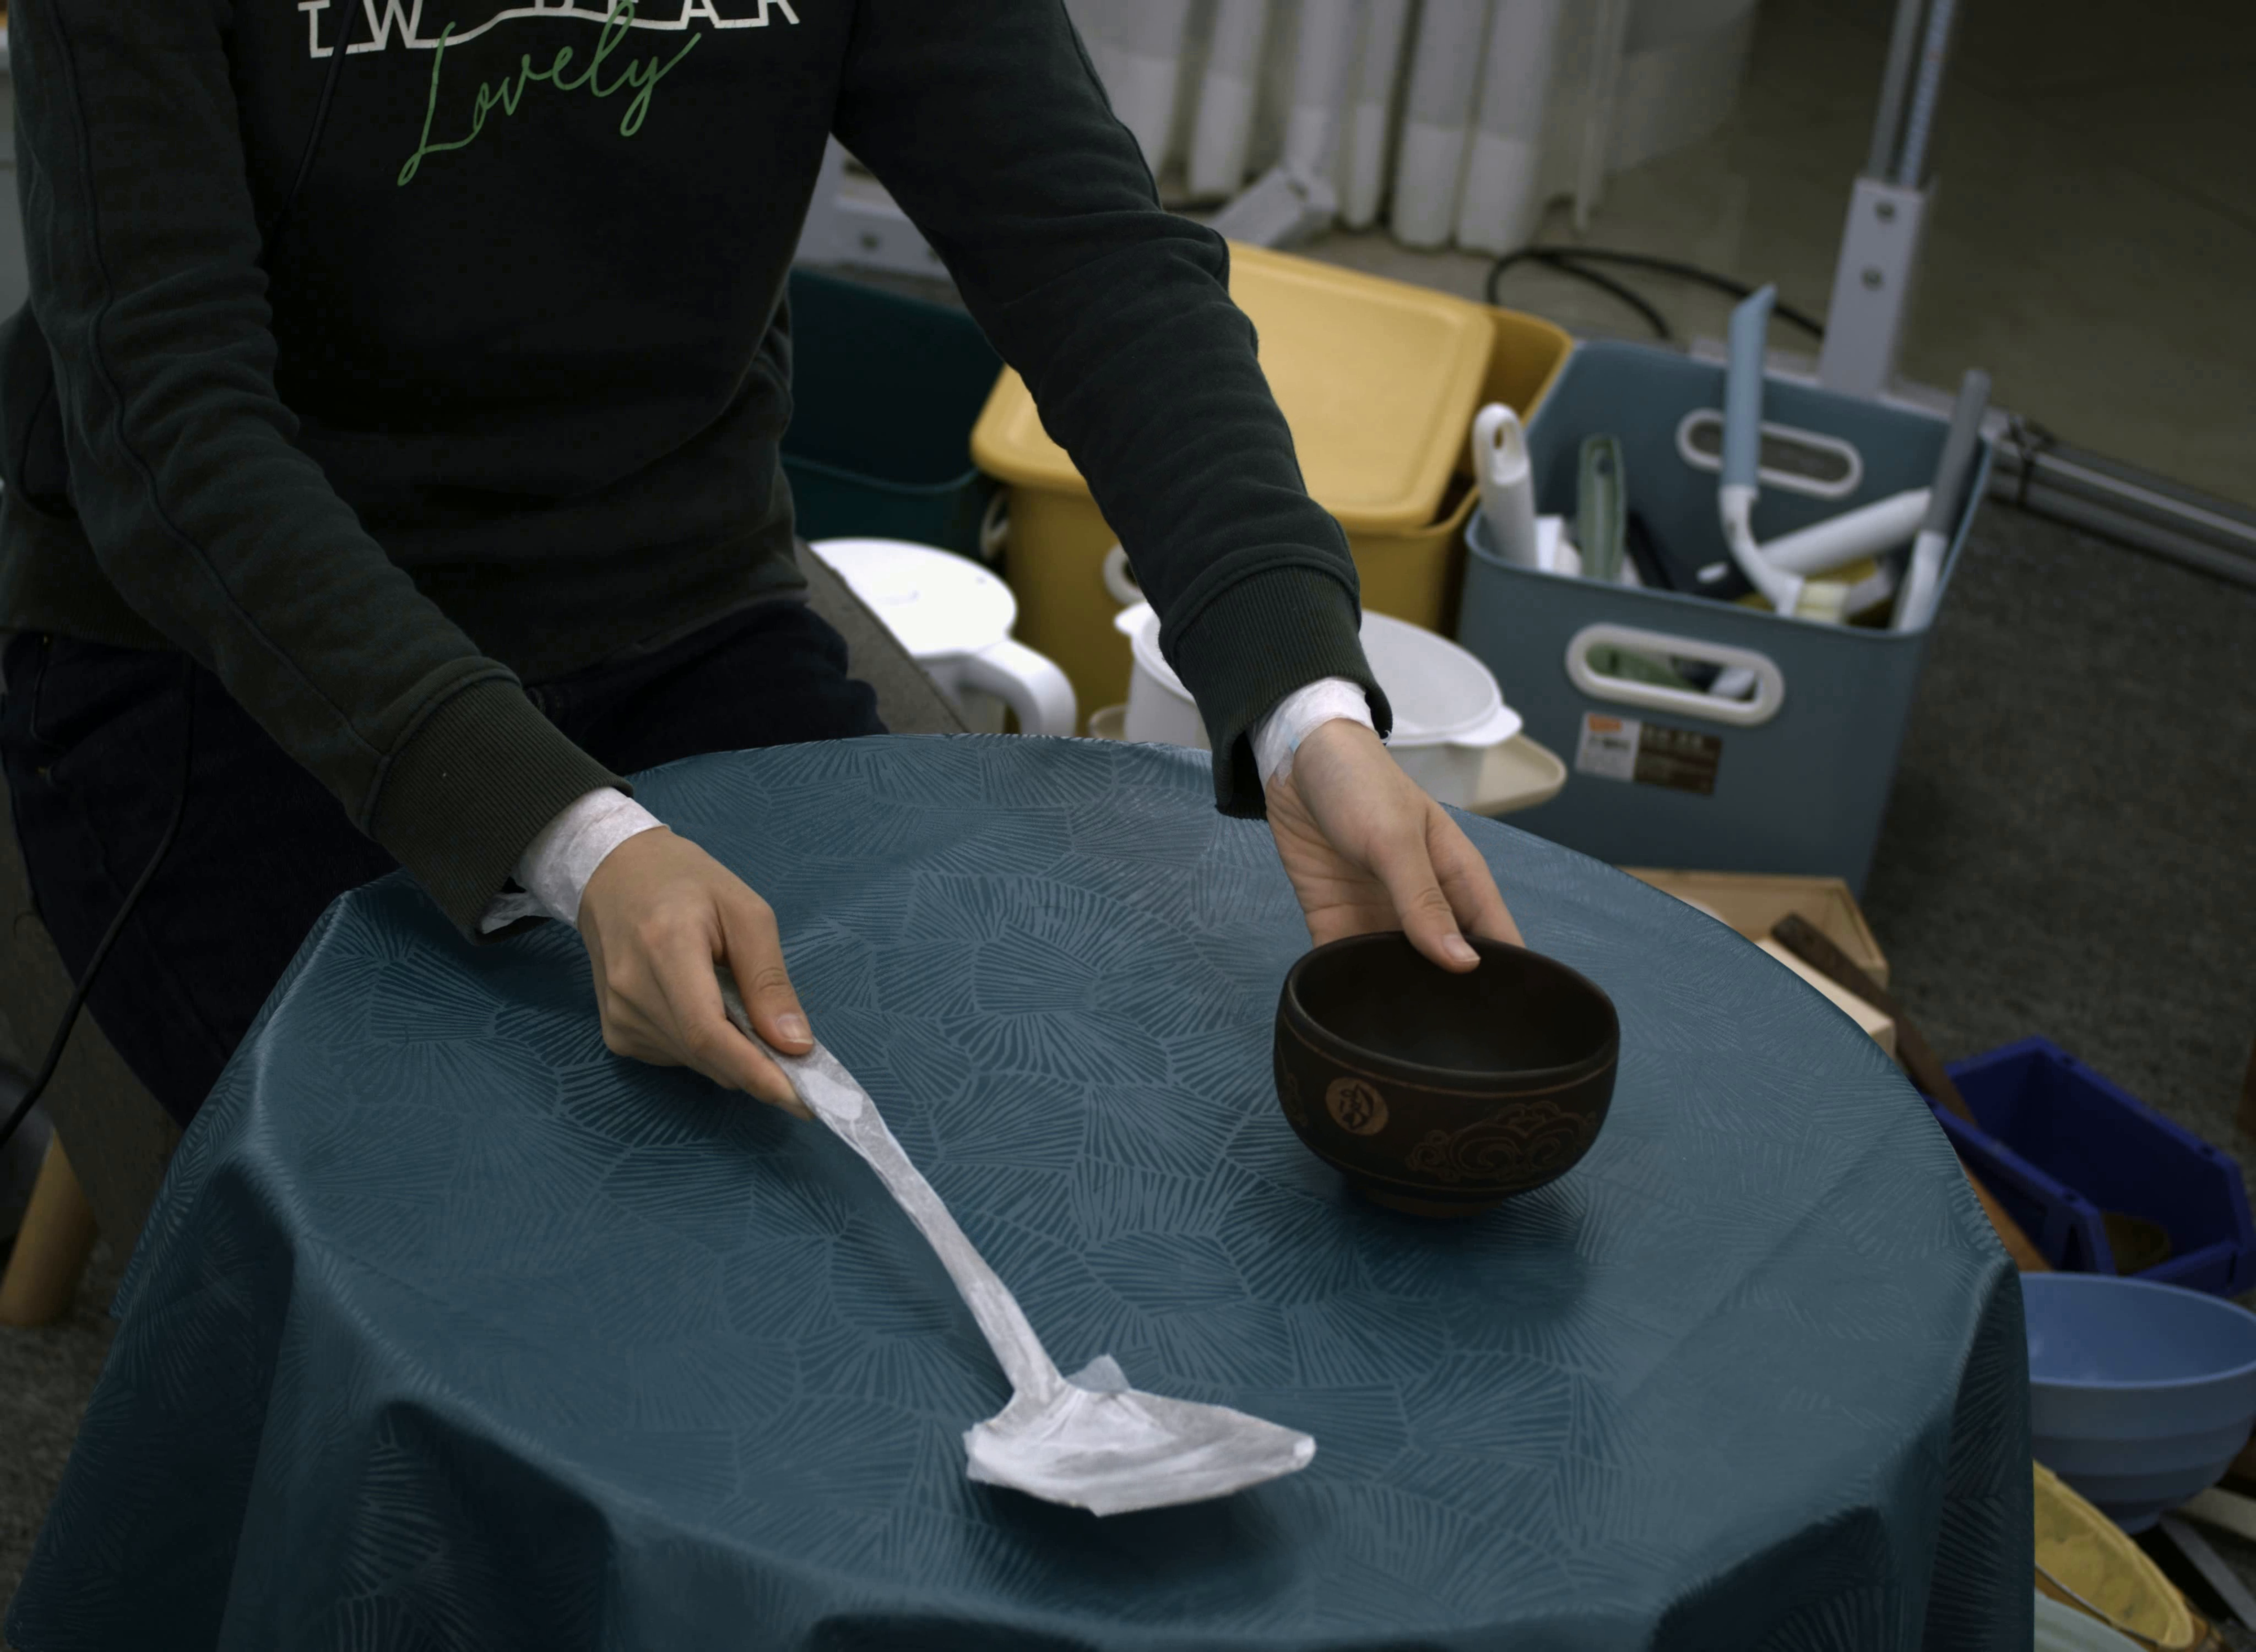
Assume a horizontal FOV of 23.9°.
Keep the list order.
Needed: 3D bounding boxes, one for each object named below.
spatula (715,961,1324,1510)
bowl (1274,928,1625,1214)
[{"bbox_3d":[-0.060,0.124,1.727,0.098,0.044,0.368,-10,35,-26],"label":"spatula"},{"bbox_3d":[0.107,0.089,1.808,0.117,0.070,0.118,6,21,-3],"label":"bowl"}]
